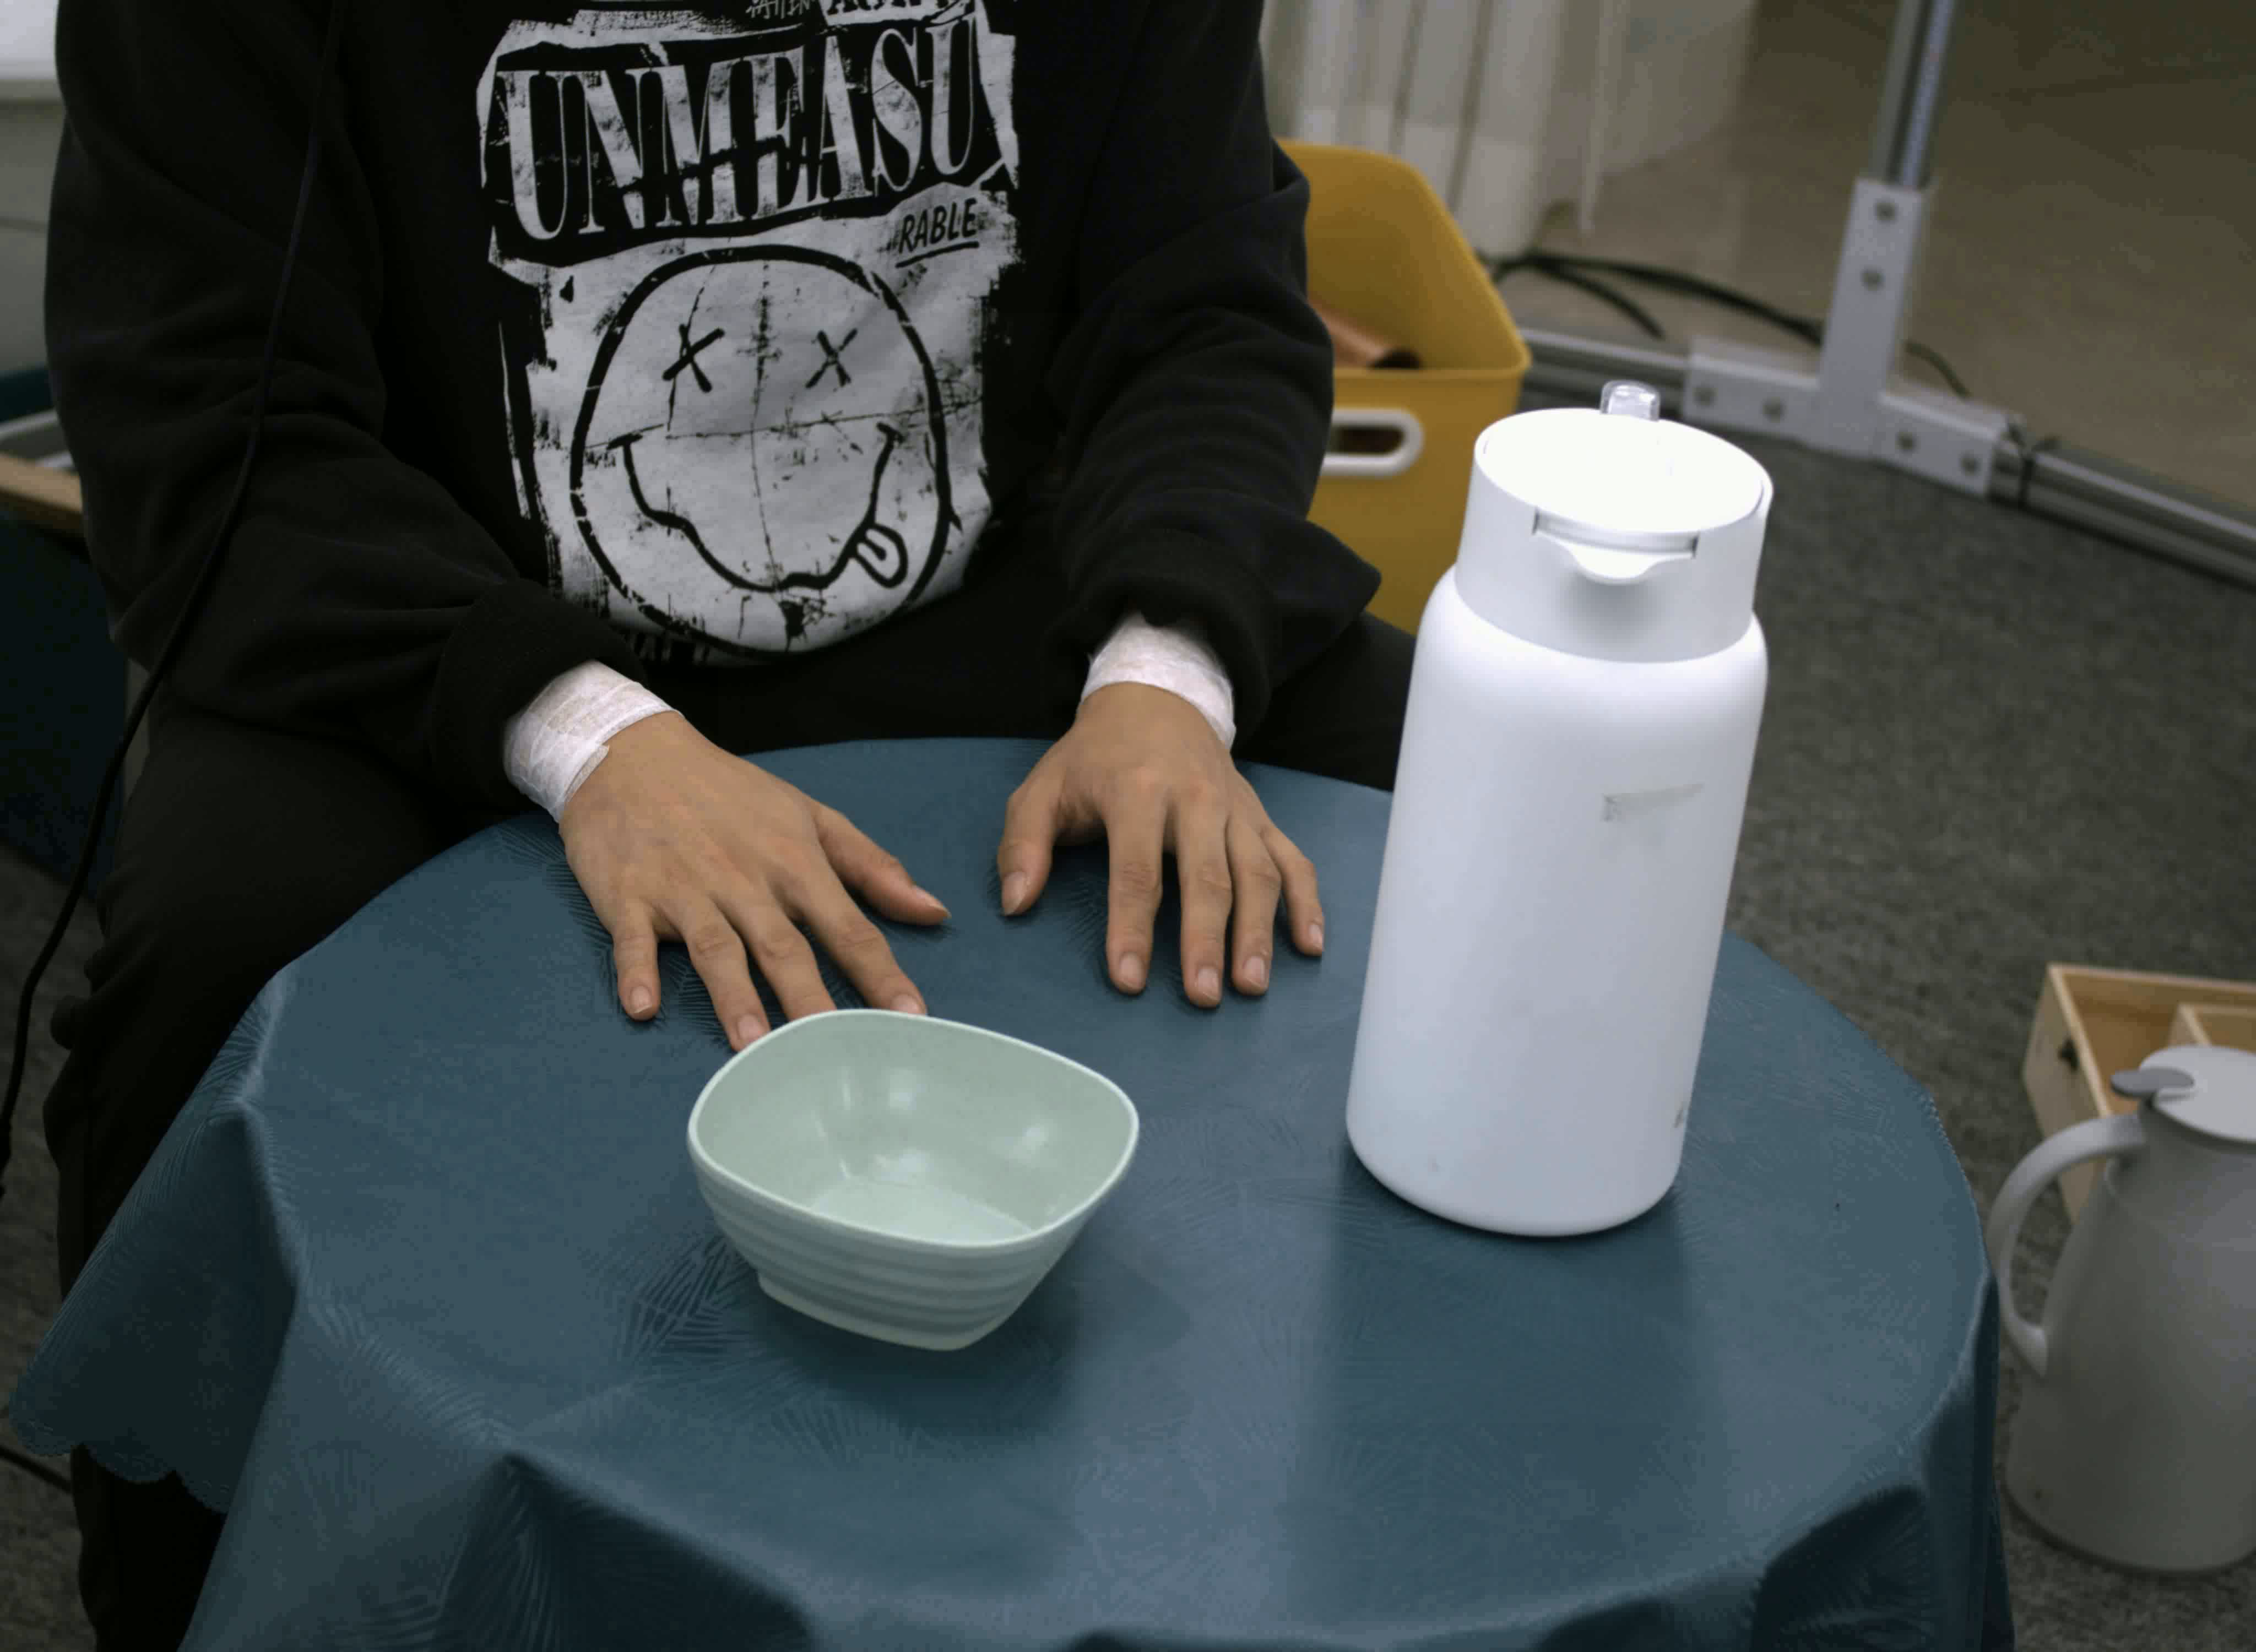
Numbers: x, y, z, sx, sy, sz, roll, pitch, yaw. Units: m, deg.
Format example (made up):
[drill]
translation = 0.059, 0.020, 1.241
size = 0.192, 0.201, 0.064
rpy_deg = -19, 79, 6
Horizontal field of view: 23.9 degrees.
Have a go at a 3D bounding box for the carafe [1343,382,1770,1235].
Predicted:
[carafe]
translation = 0.146, -0.010, 1.807
size = 0.123, 0.268, 0.173
rpy_deg = 6, 26, 3

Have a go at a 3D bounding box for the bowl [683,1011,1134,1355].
[bowl]
translation = -0.073, 0.122, 1.734
size = 0.151, 0.058, 0.152
rpy_deg = 5, 27, -3
